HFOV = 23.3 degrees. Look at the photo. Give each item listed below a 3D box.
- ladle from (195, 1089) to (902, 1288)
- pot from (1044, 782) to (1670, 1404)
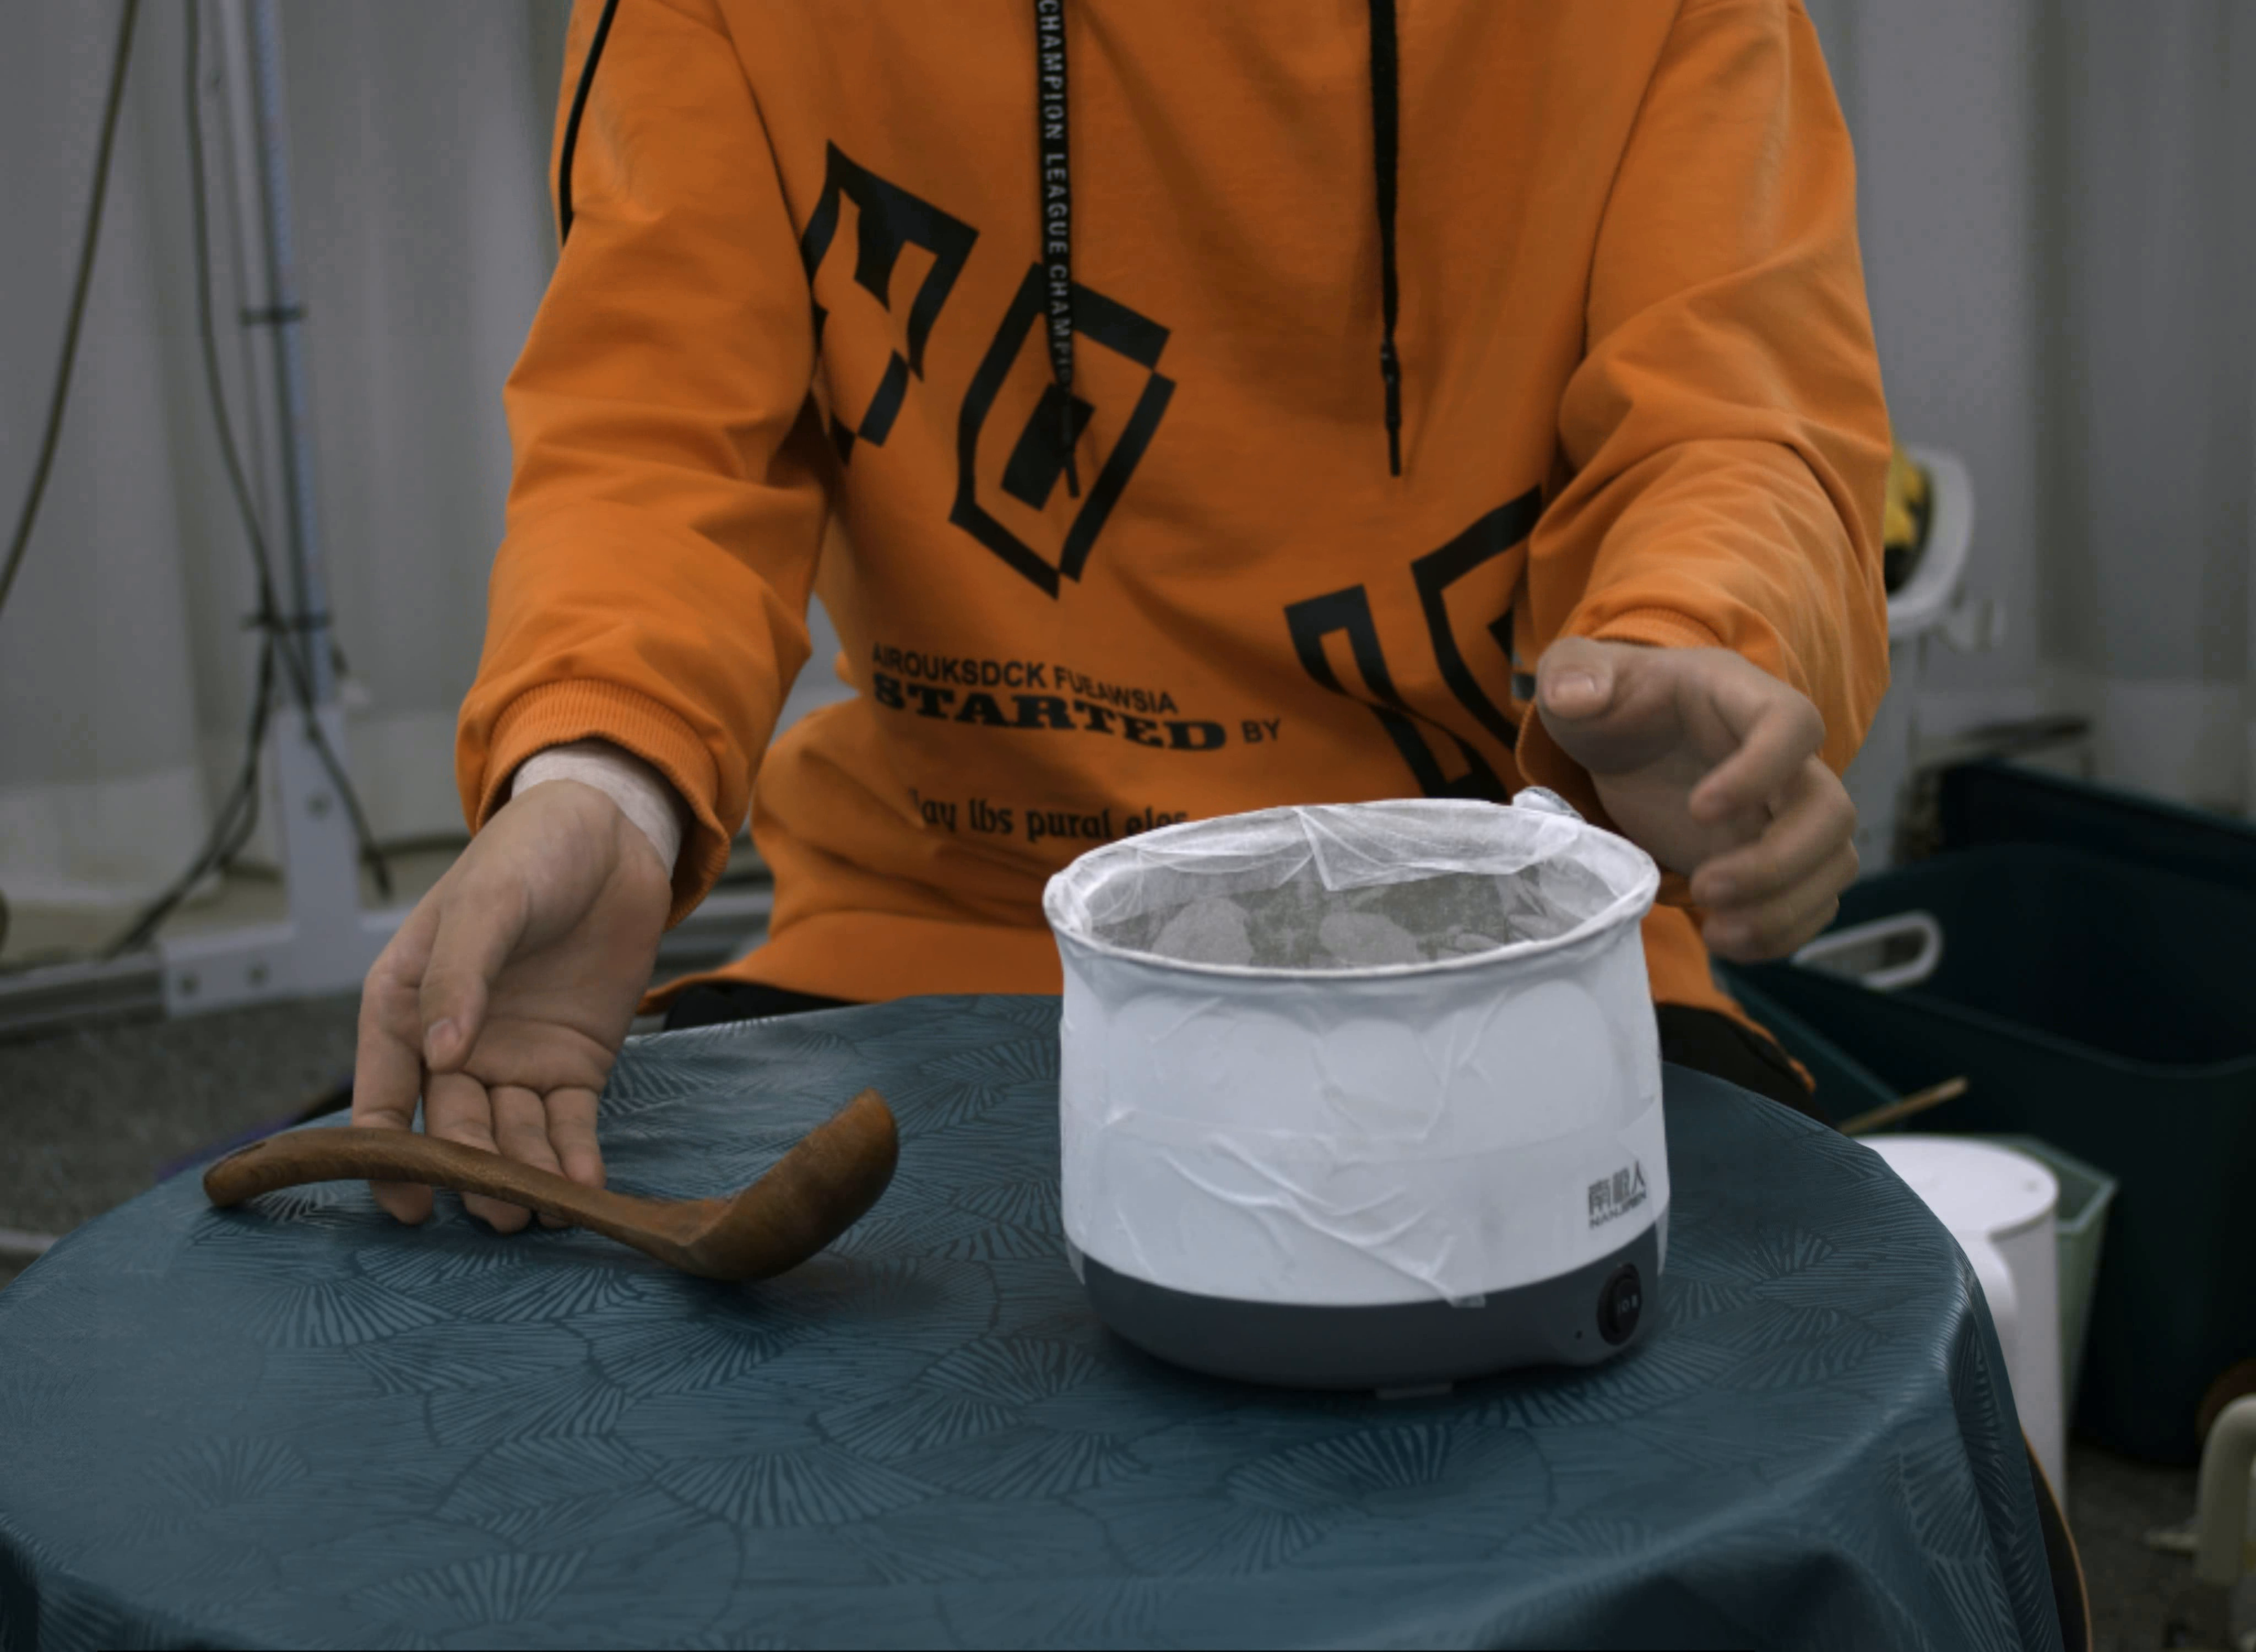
[{"bbox_3d":[-0.185,0.101,1.683,0.261,0.065,0.076,6,18,30],"label":"ladle"},{"bbox_3d":[0.083,0.070,1.600,0.179,0.136,0.234,8,19,34],"label":"pot"}]
